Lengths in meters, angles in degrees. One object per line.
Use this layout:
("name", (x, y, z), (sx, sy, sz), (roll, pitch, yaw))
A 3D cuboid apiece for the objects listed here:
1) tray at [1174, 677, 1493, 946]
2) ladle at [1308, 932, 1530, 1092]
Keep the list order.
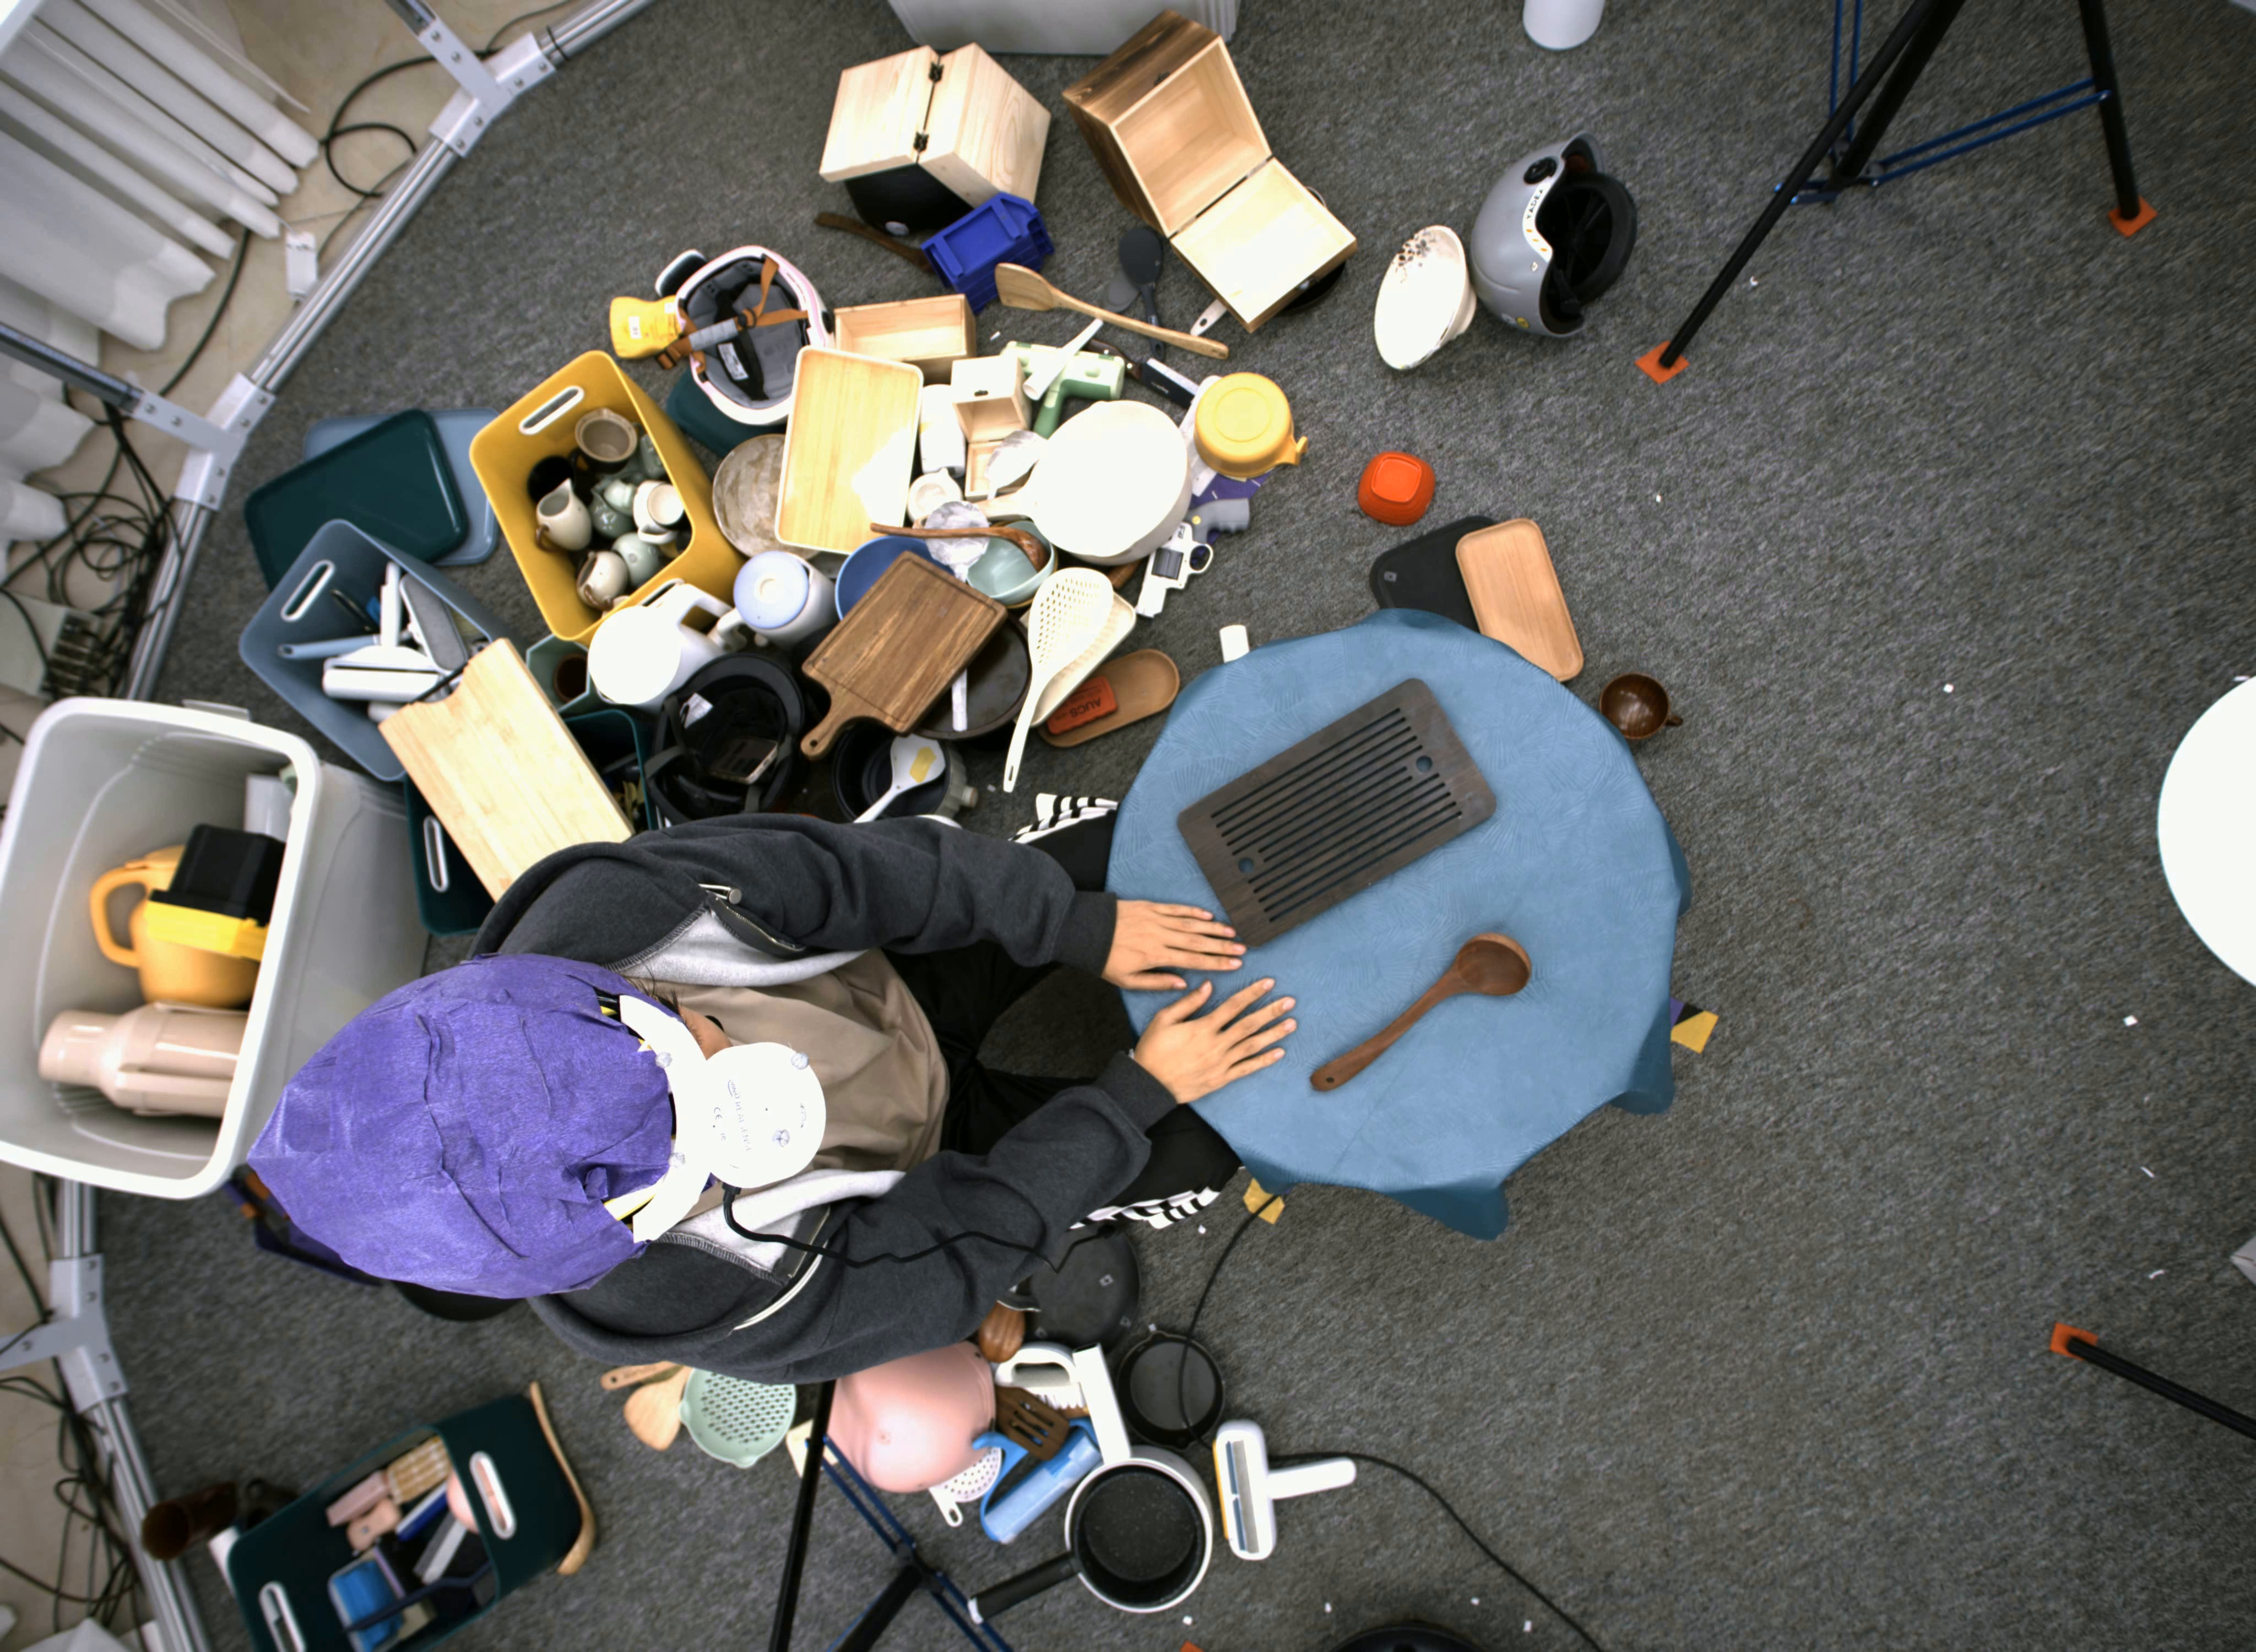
("tray", (0.216, -0.016, 1.465), (0.308, 0.018, 0.169), (-30, 82, 8))
("ladle", (0.295, 0.198, 1.415), (0.261, 0.064, 0.077), (-37, 100, 6))
